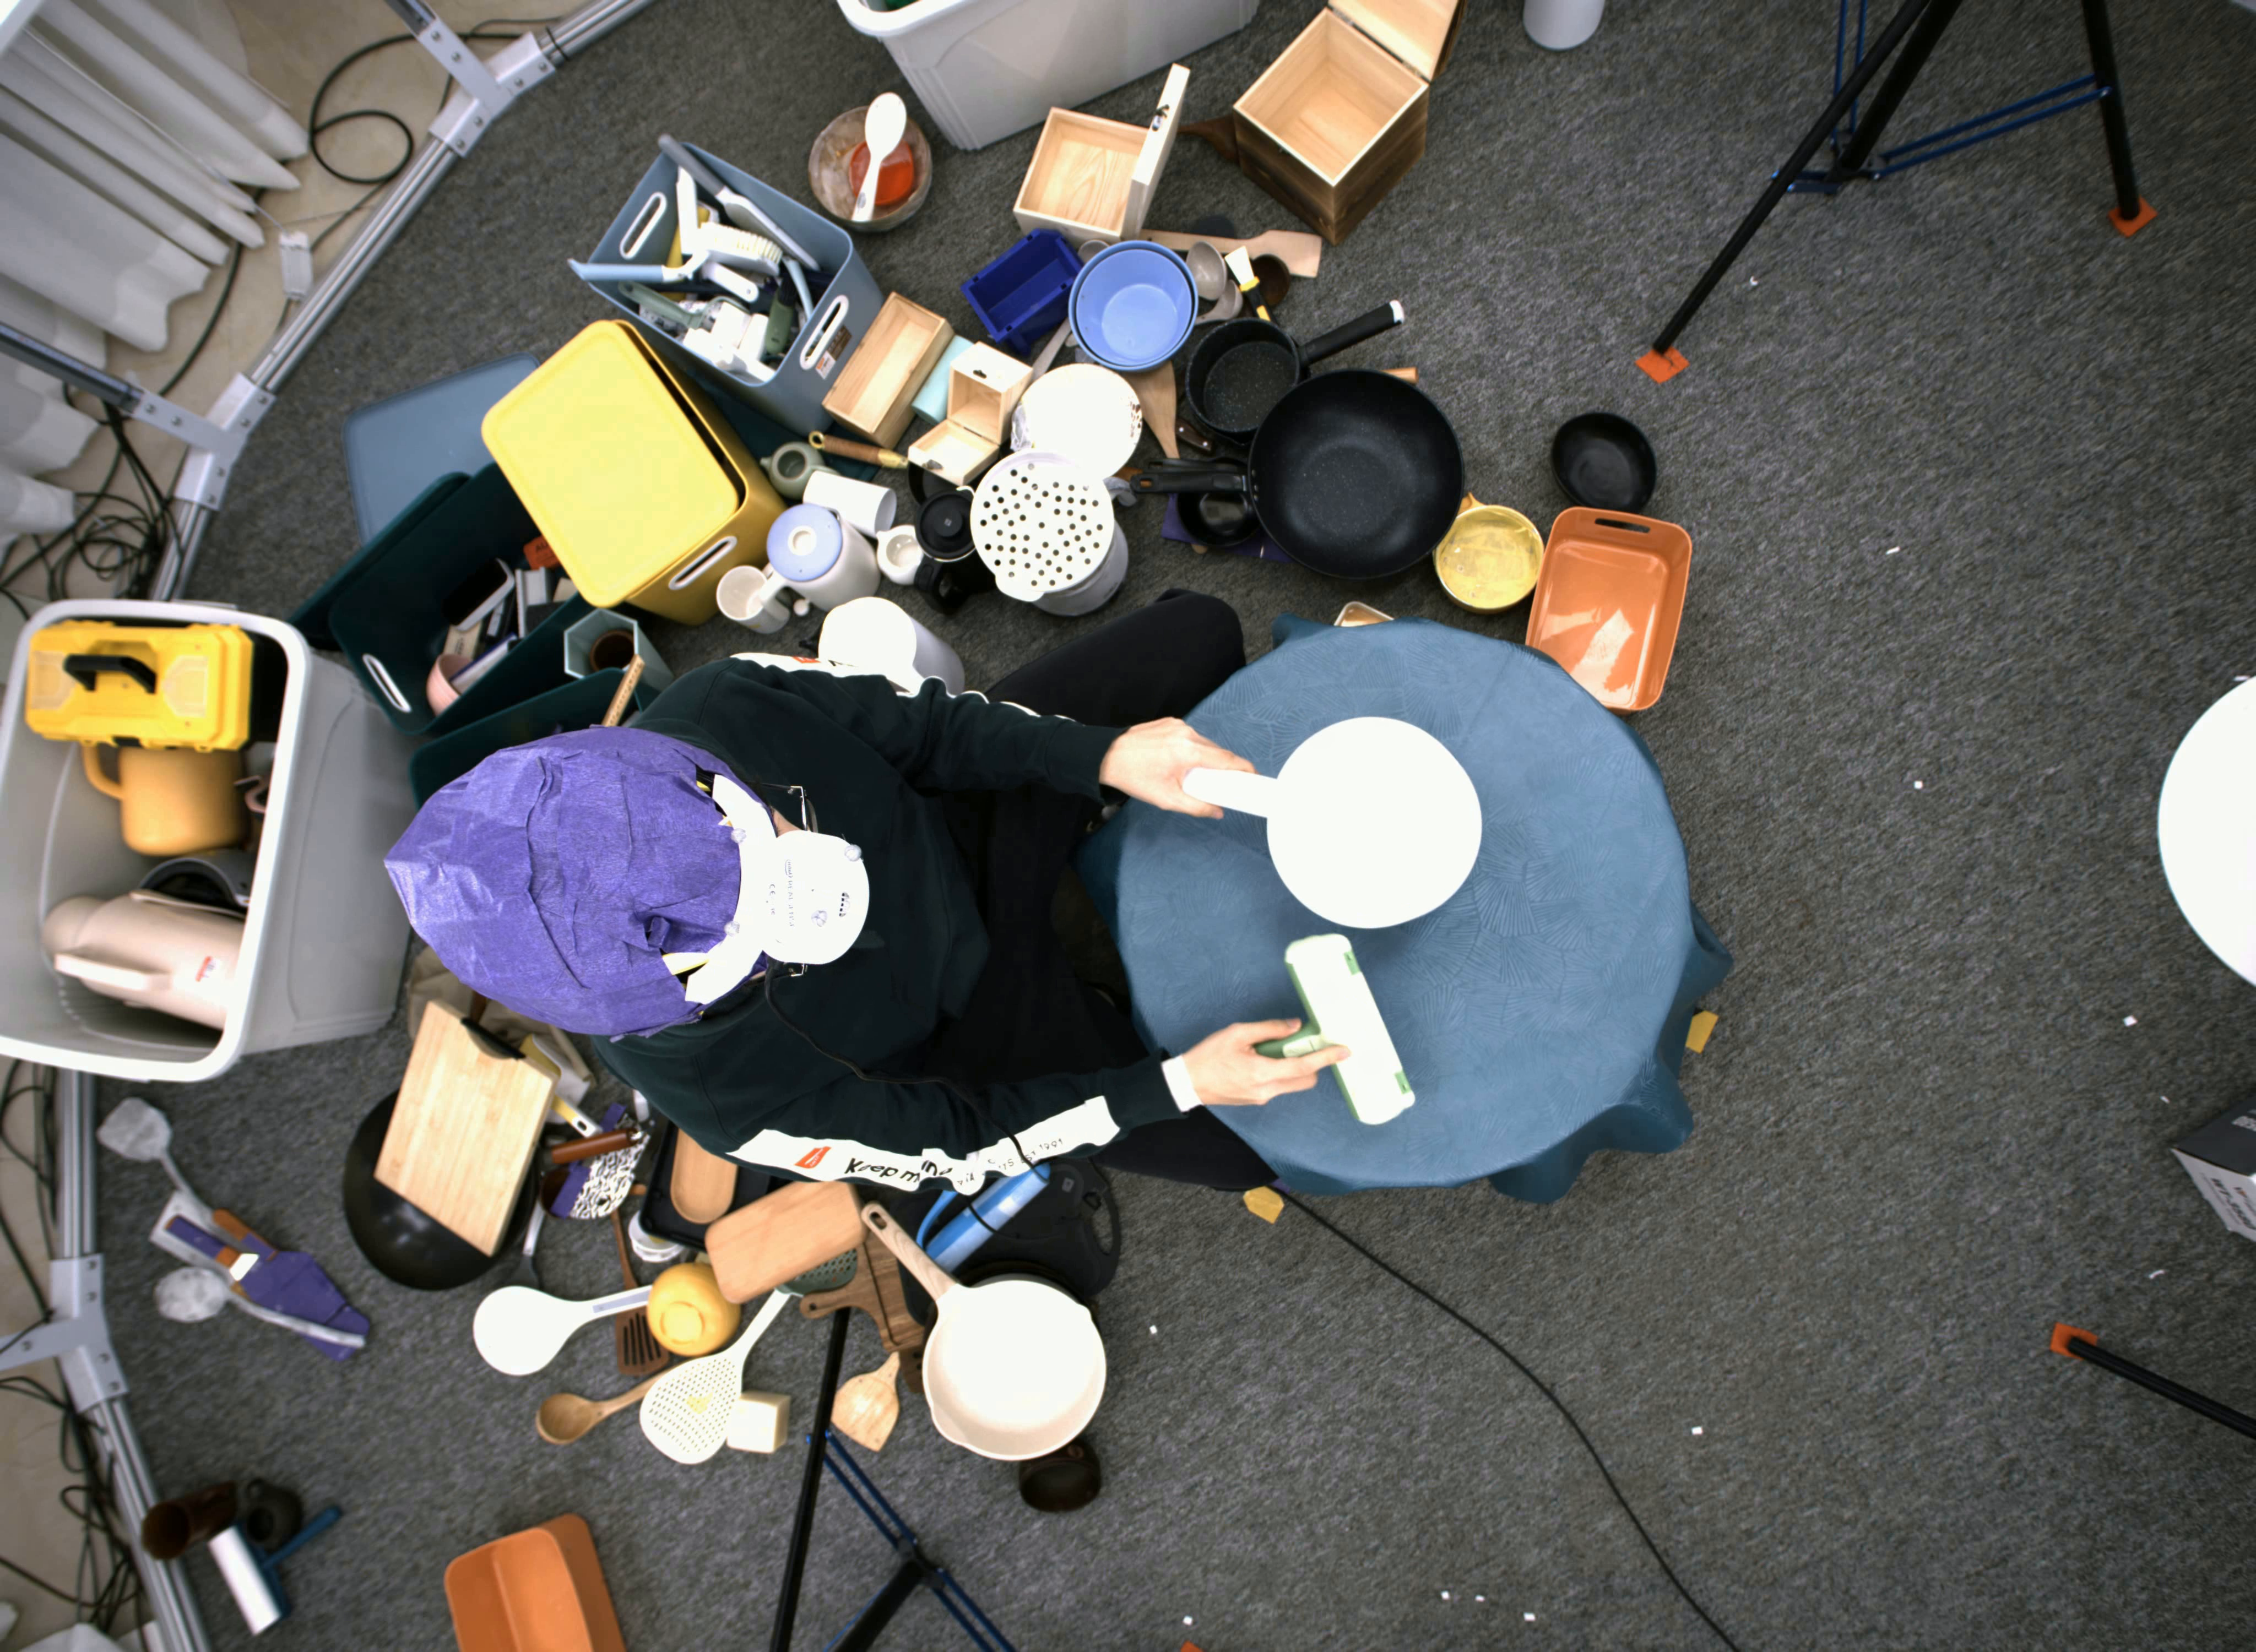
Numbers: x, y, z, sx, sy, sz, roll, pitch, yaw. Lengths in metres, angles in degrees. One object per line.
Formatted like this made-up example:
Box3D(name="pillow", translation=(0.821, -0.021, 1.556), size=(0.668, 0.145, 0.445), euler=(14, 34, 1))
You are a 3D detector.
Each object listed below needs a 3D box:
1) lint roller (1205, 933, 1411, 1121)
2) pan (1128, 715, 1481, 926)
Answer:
Box3D(name="lint roller", translation=(0.160, 0.220, 1.362), size=(0.184, 0.081, 0.200), euler=(-23, 106, 10))
Box3D(name="pan", translation=(0.176, -0.023, 1.381), size=(0.355, 0.101, 0.202), euler=(16, 96, 24))
